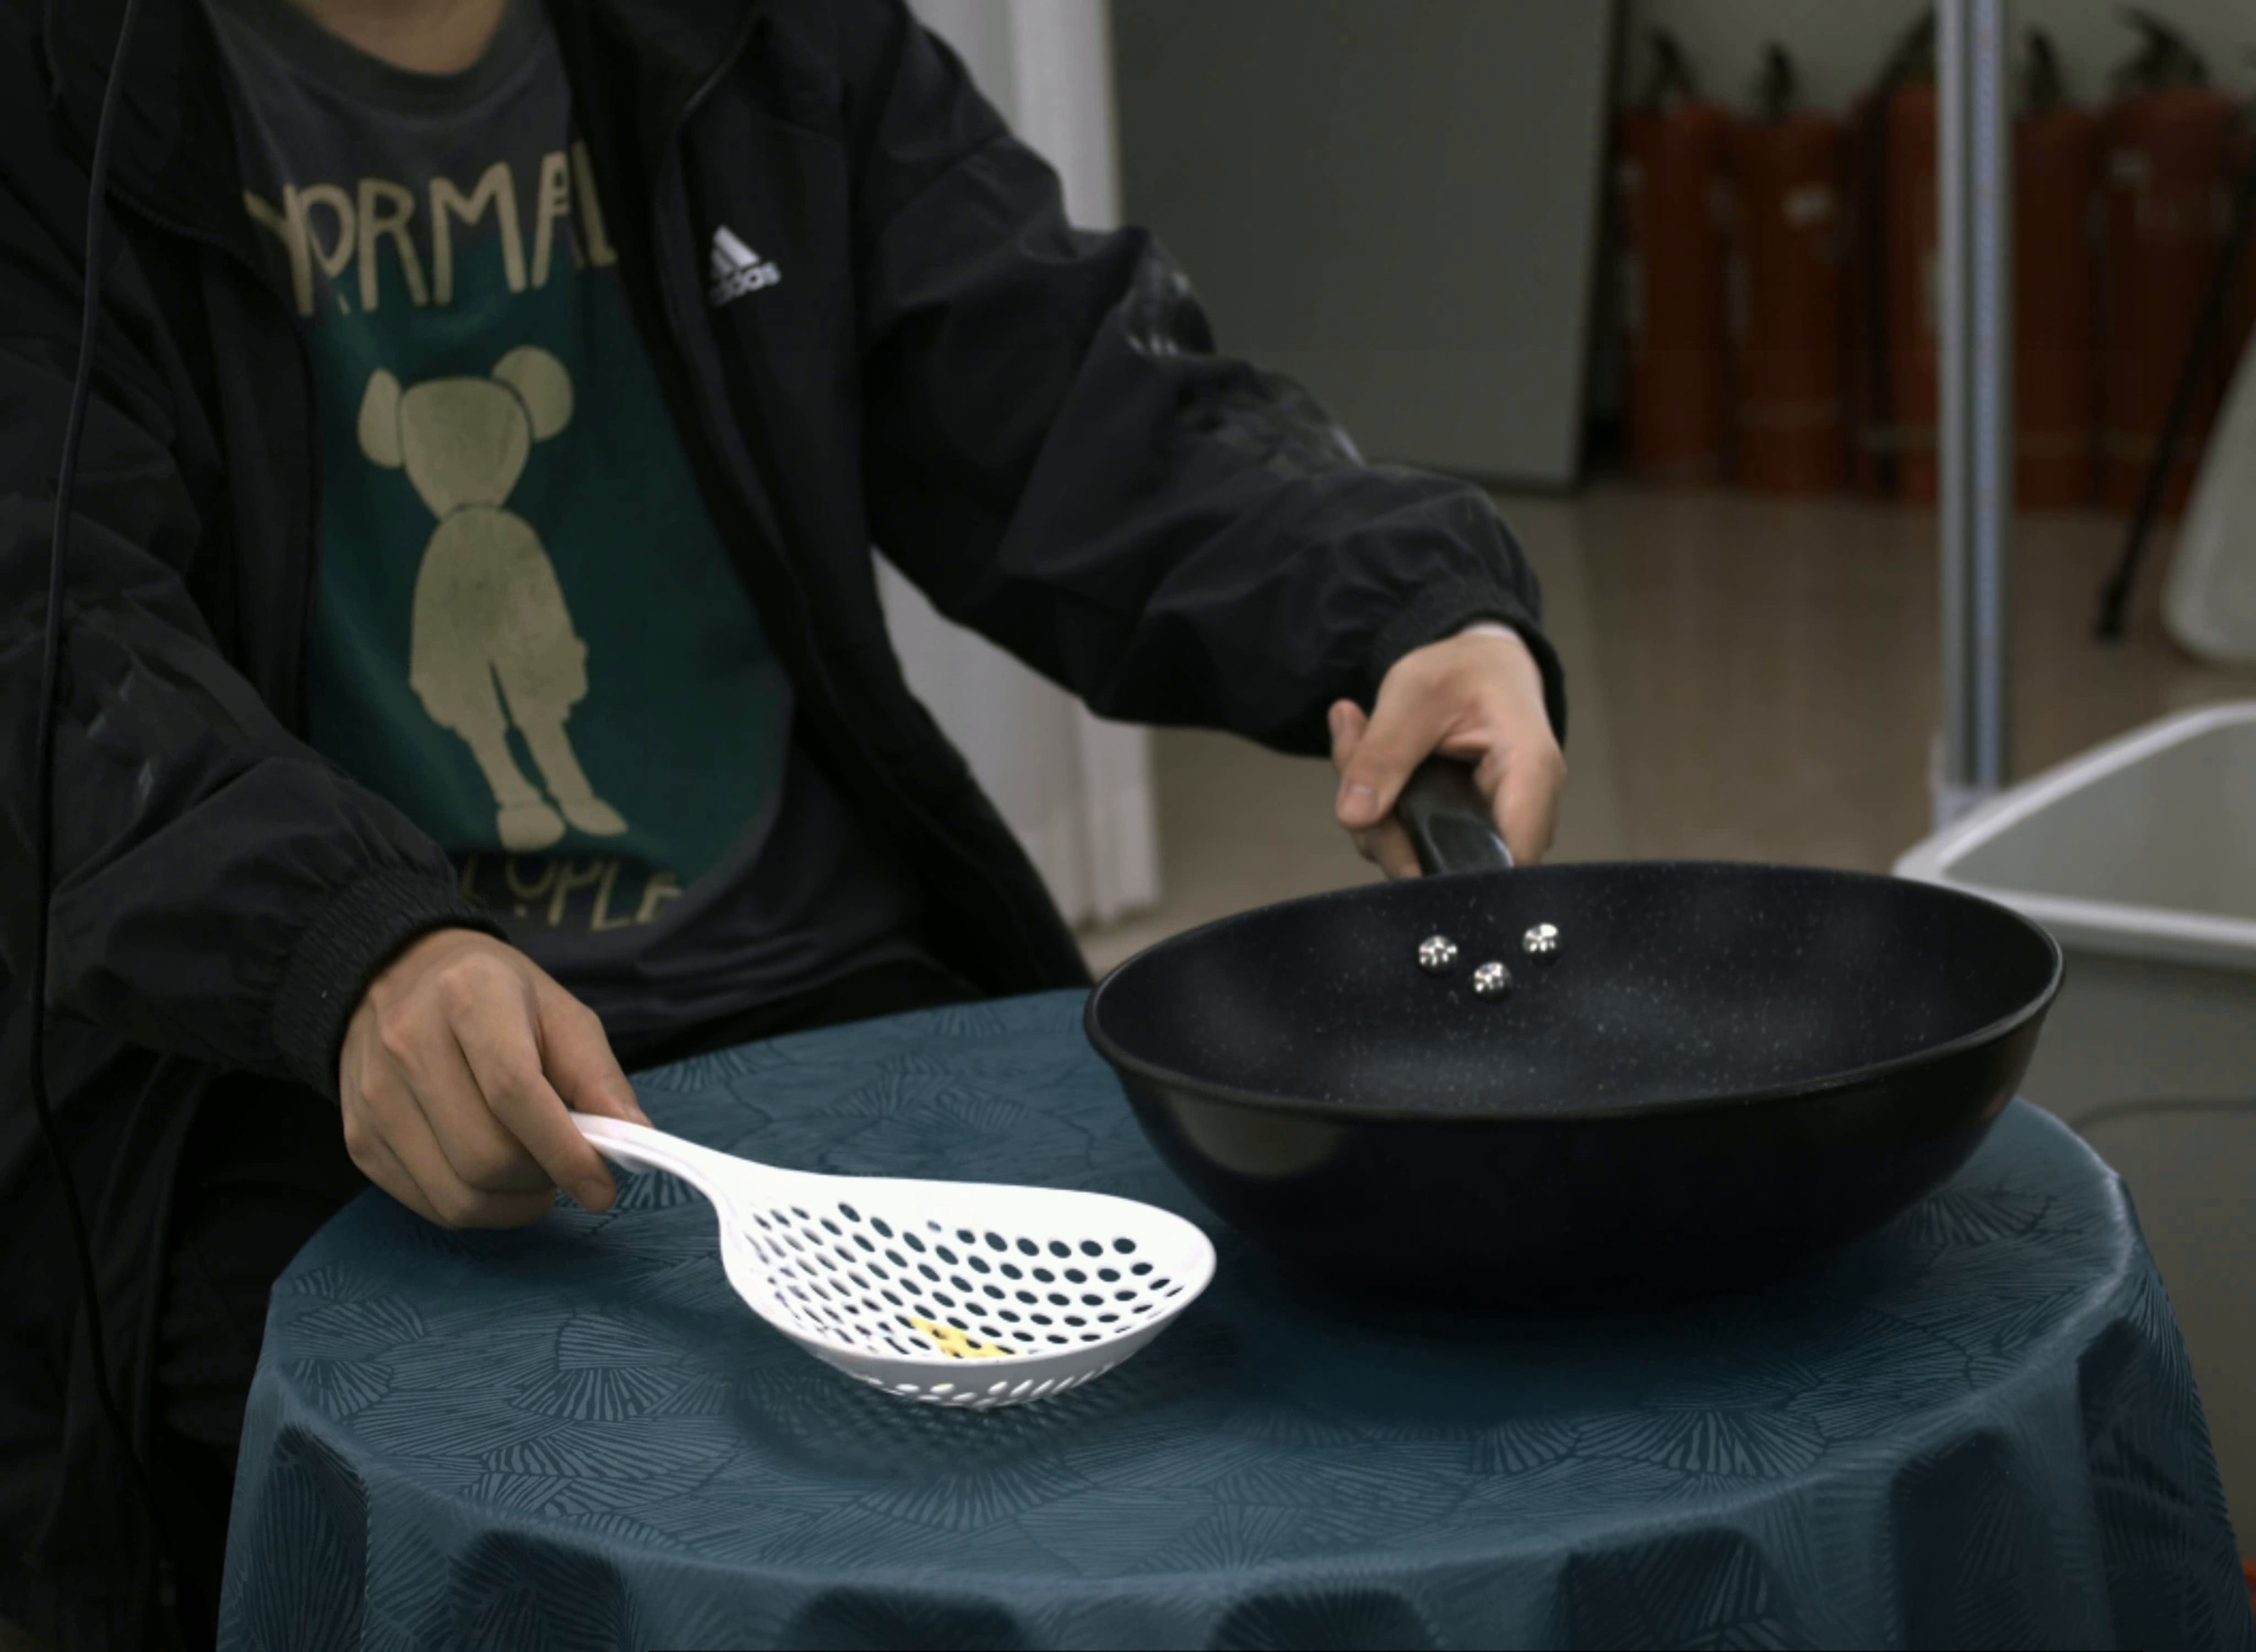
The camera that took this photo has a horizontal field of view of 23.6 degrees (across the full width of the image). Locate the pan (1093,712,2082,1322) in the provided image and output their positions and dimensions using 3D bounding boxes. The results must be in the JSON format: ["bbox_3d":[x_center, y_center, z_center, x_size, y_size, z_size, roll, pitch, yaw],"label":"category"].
[{"bbox_3d":[0.132,0.061,1.759,0.305,0.113,0.479,-5,12,-6],"label":"pan"}]

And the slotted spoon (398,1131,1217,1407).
[{"bbox_3d":[-0.115,0.123,1.673,0.134,0.051,0.351,-20,26,-38],"label":"slotted spoon"}]
